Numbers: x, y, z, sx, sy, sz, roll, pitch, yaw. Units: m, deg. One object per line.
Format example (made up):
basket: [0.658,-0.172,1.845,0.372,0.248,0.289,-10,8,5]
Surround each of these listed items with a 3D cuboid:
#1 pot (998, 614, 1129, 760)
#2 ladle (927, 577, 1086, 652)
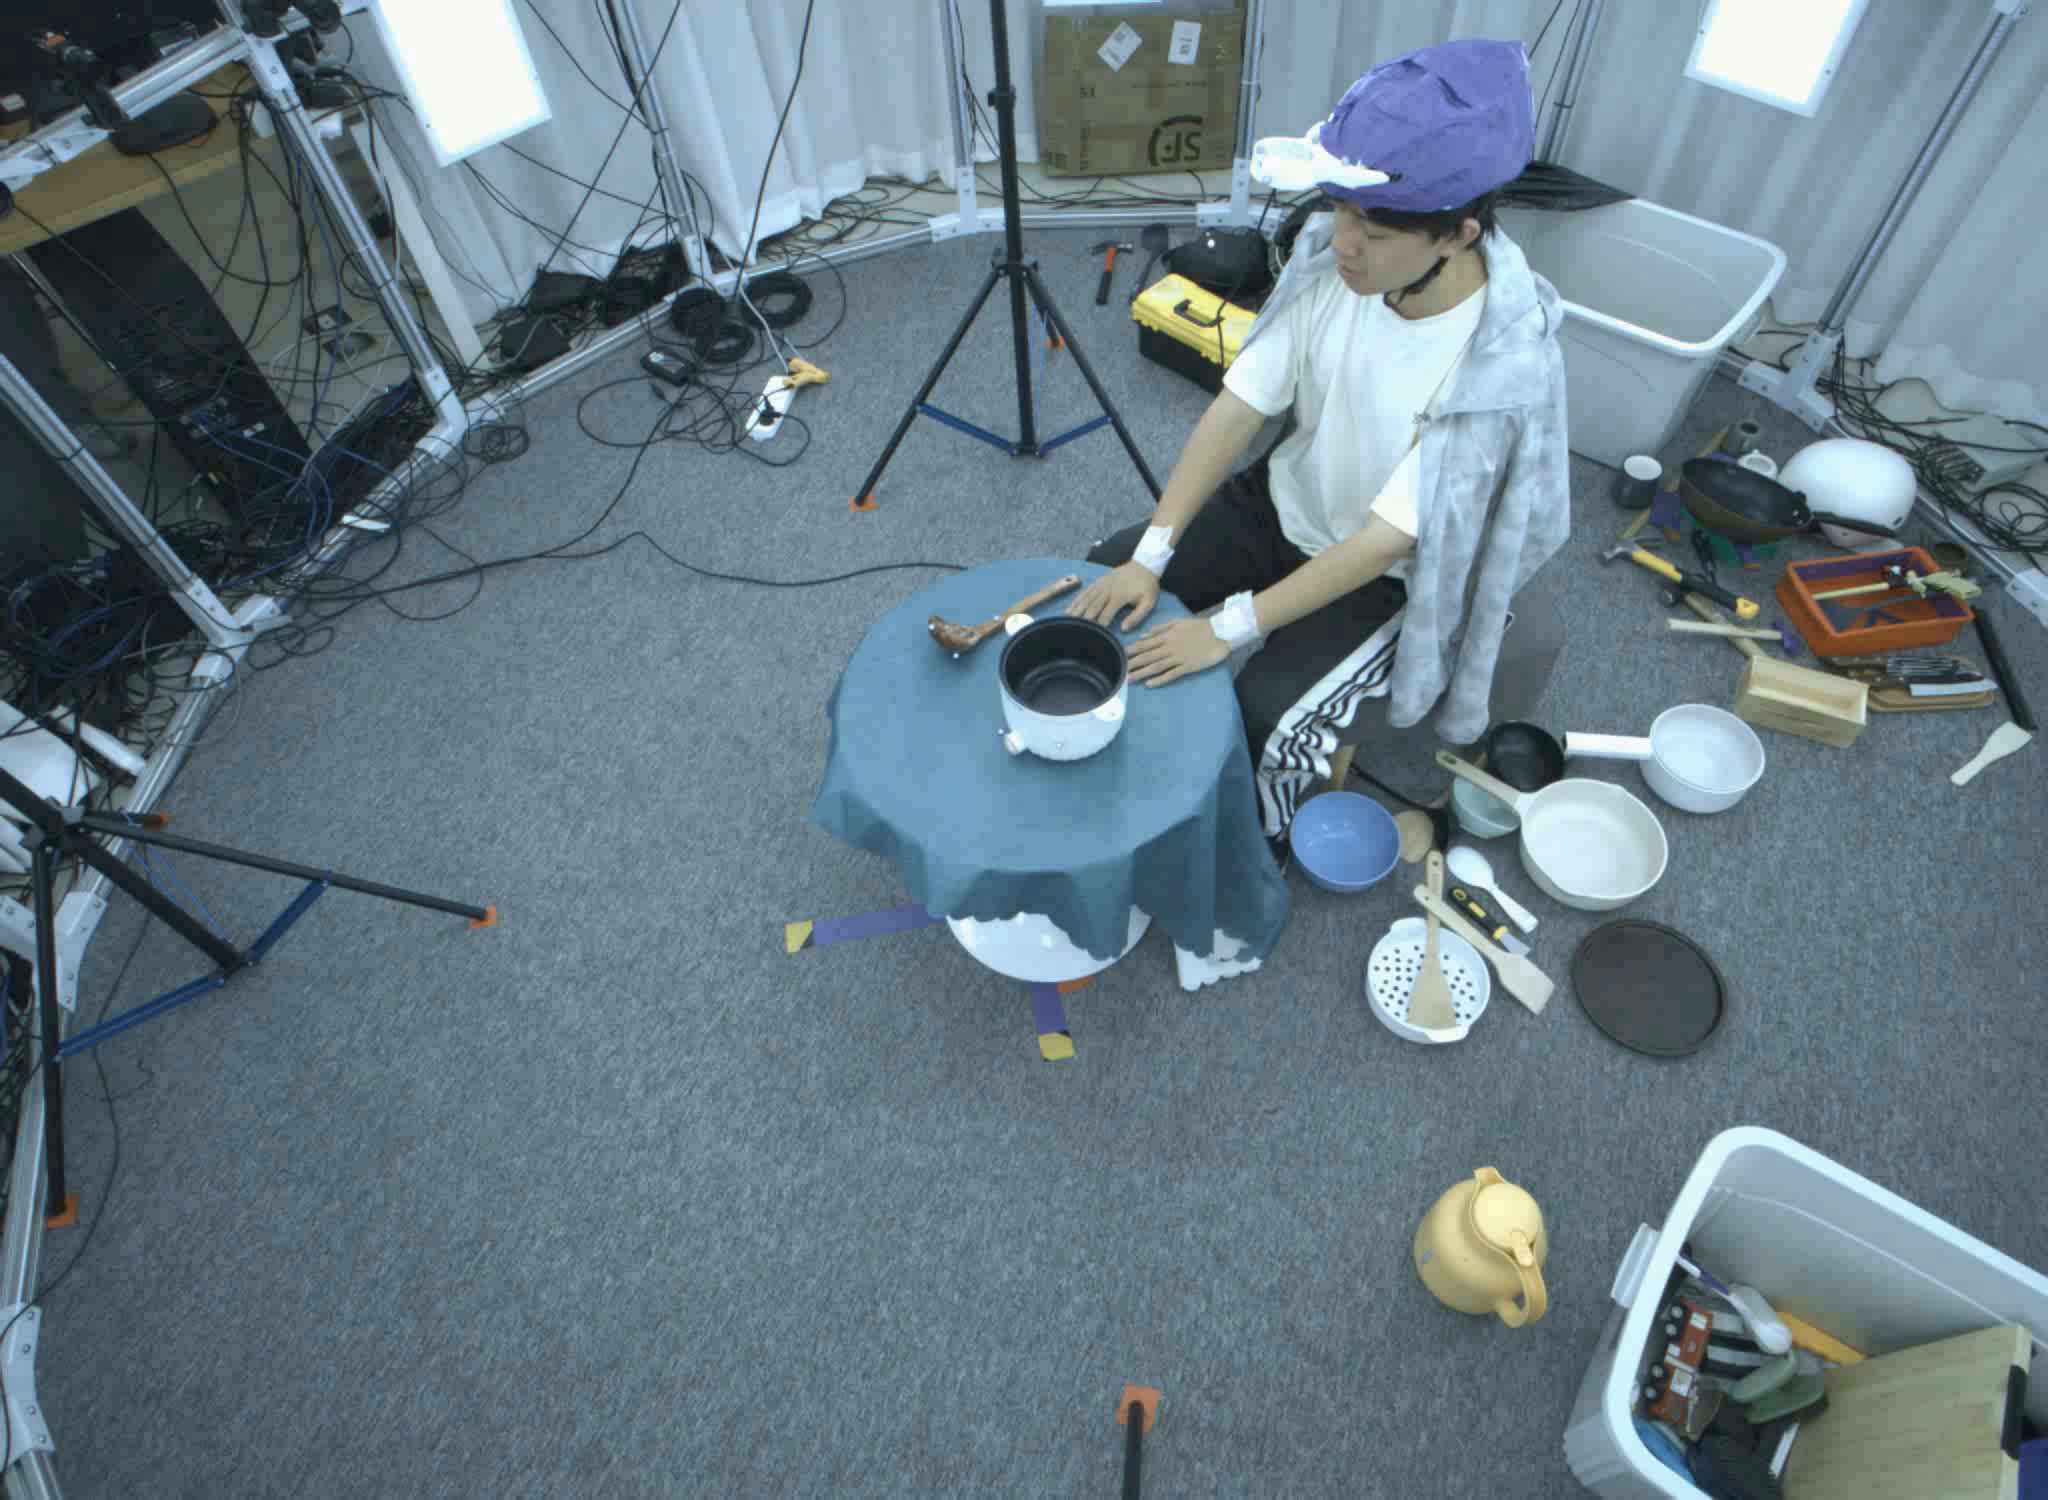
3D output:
pot: [0.053,-0.078,1.757,0.192,0.144,0.236,-32,58,-22]
ladle: [-0.026,-0.229,1.906,0.276,0.077,0.080,-30,55,-17]
